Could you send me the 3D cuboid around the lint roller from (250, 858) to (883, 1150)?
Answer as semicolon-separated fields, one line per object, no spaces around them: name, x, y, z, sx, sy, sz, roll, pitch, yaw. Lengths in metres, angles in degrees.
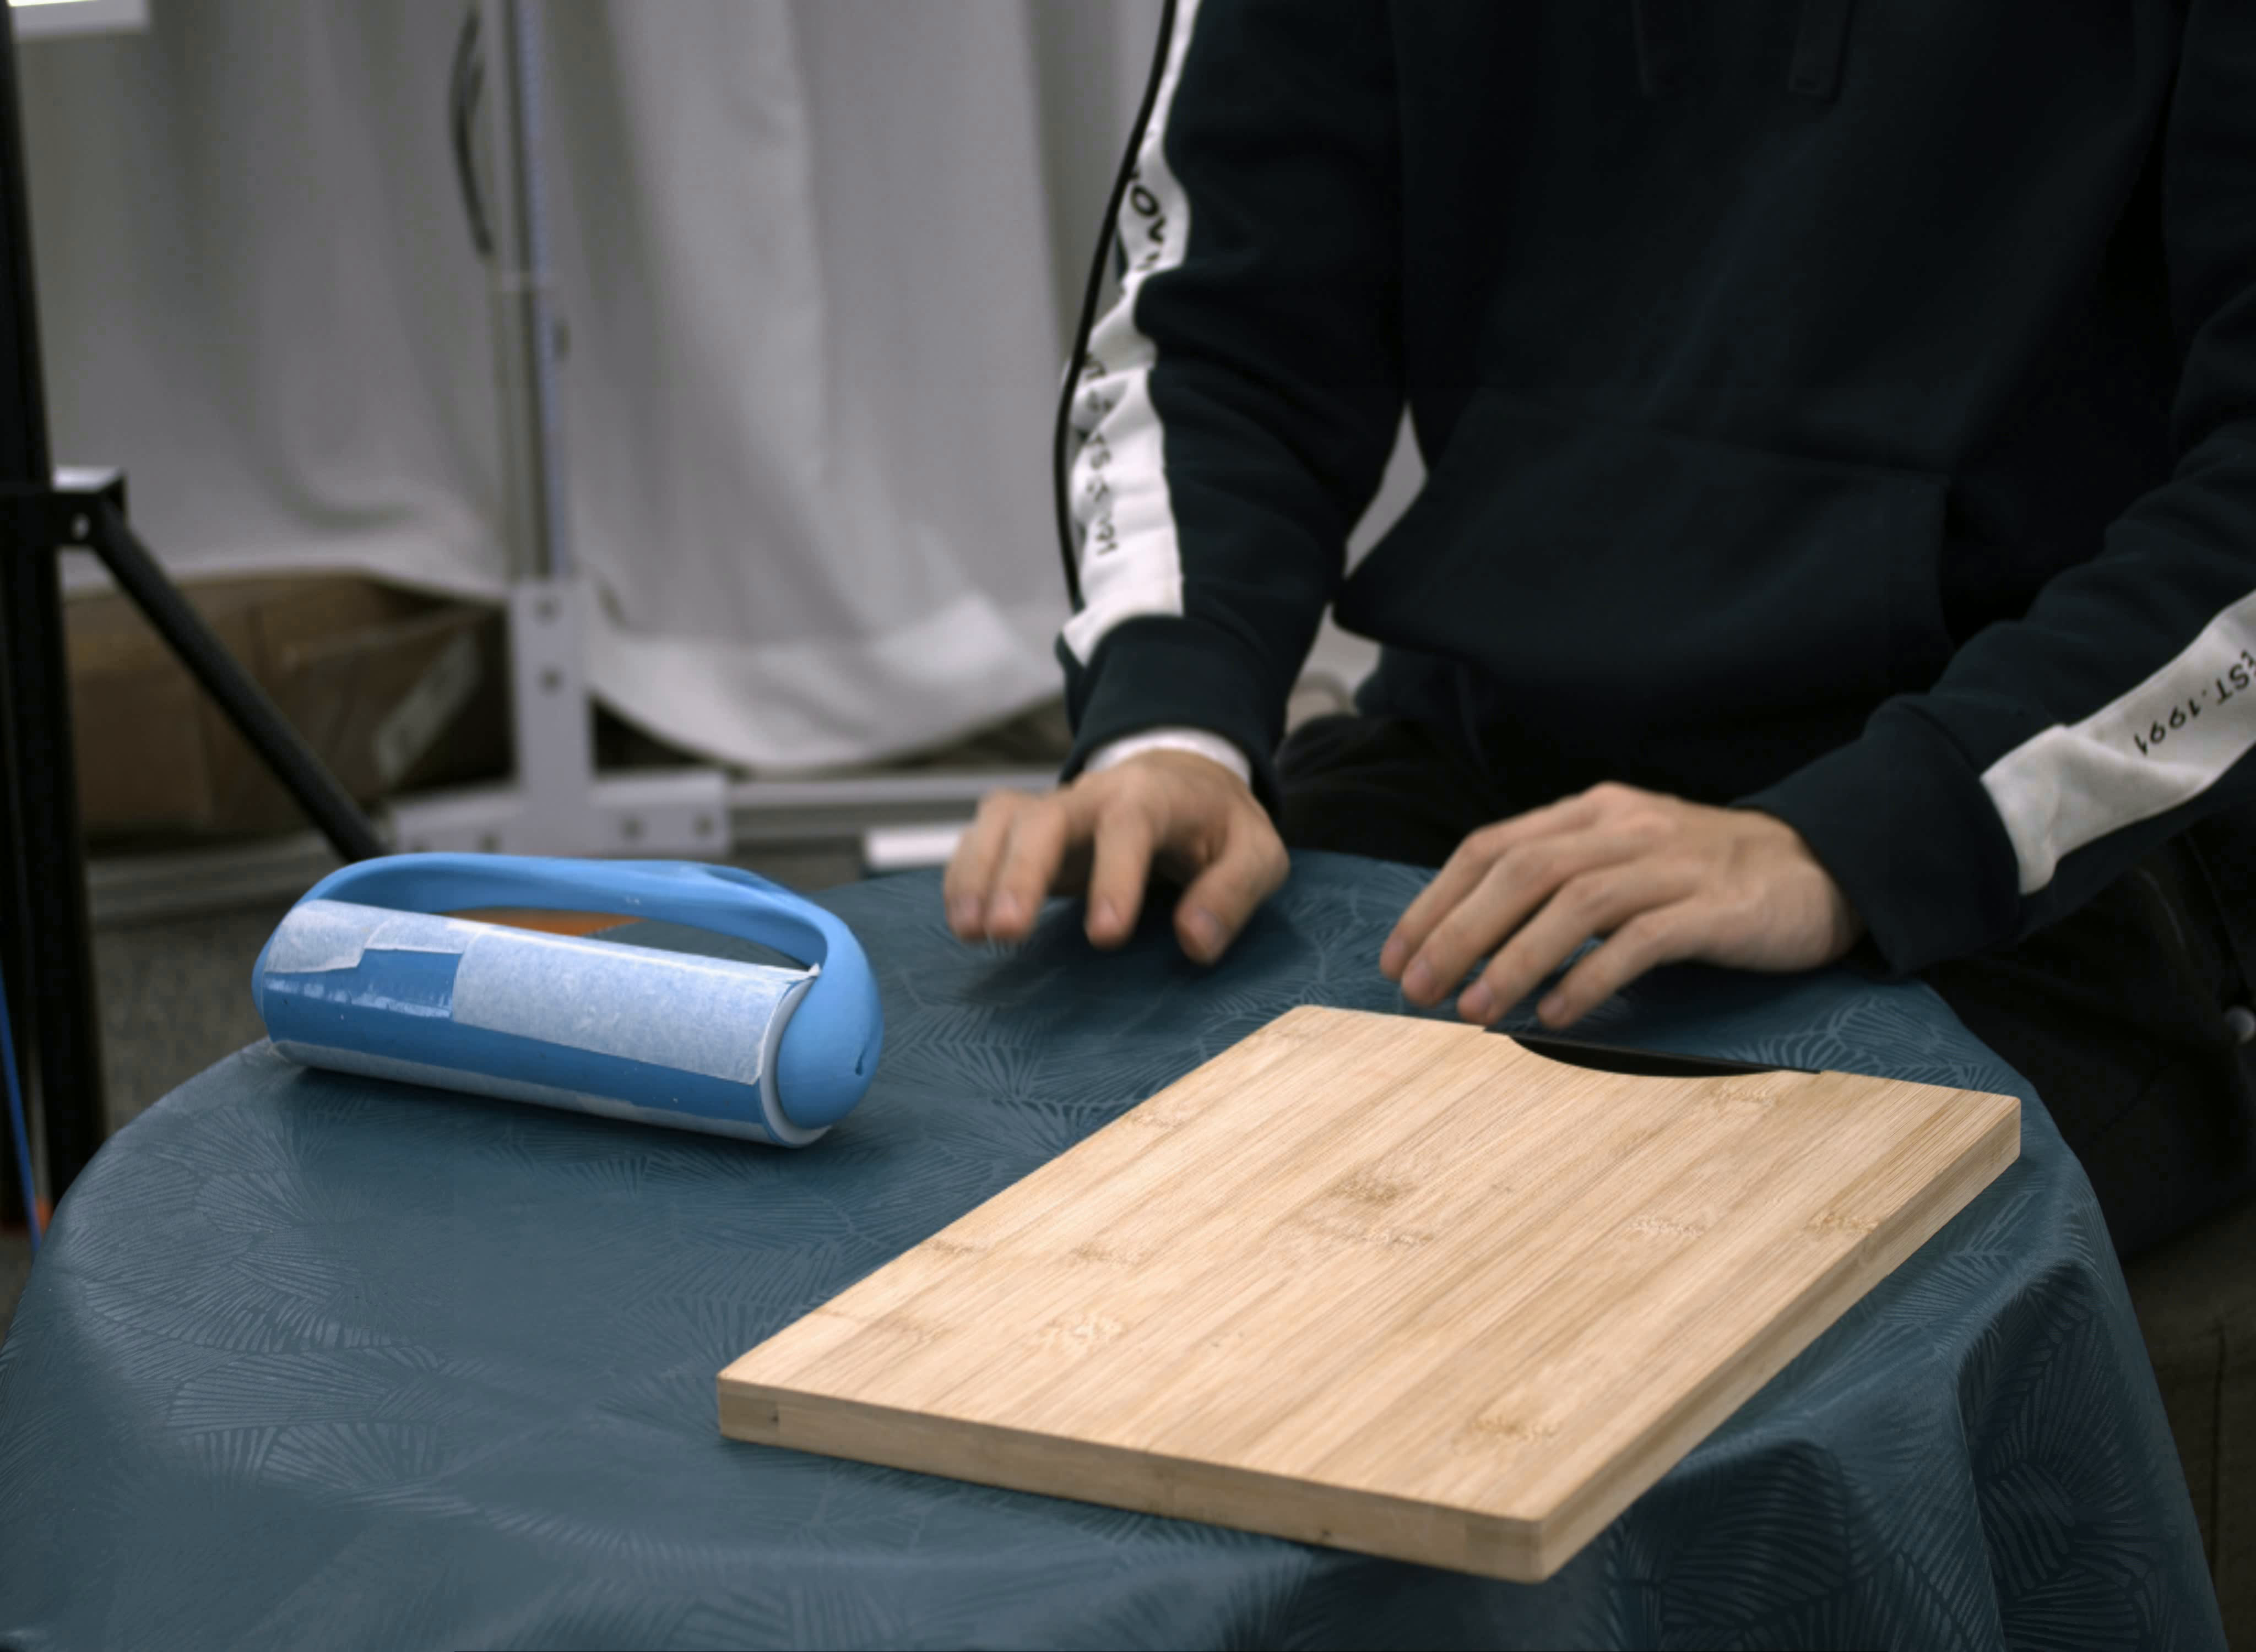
lint roller;-0.150;0.044;1.705;0.233;0.068;0.177;5;18;29

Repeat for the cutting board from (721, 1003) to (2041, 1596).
cutting board;0.080;0.121;1.471;0.255;0.023;0.343;6;18;29
